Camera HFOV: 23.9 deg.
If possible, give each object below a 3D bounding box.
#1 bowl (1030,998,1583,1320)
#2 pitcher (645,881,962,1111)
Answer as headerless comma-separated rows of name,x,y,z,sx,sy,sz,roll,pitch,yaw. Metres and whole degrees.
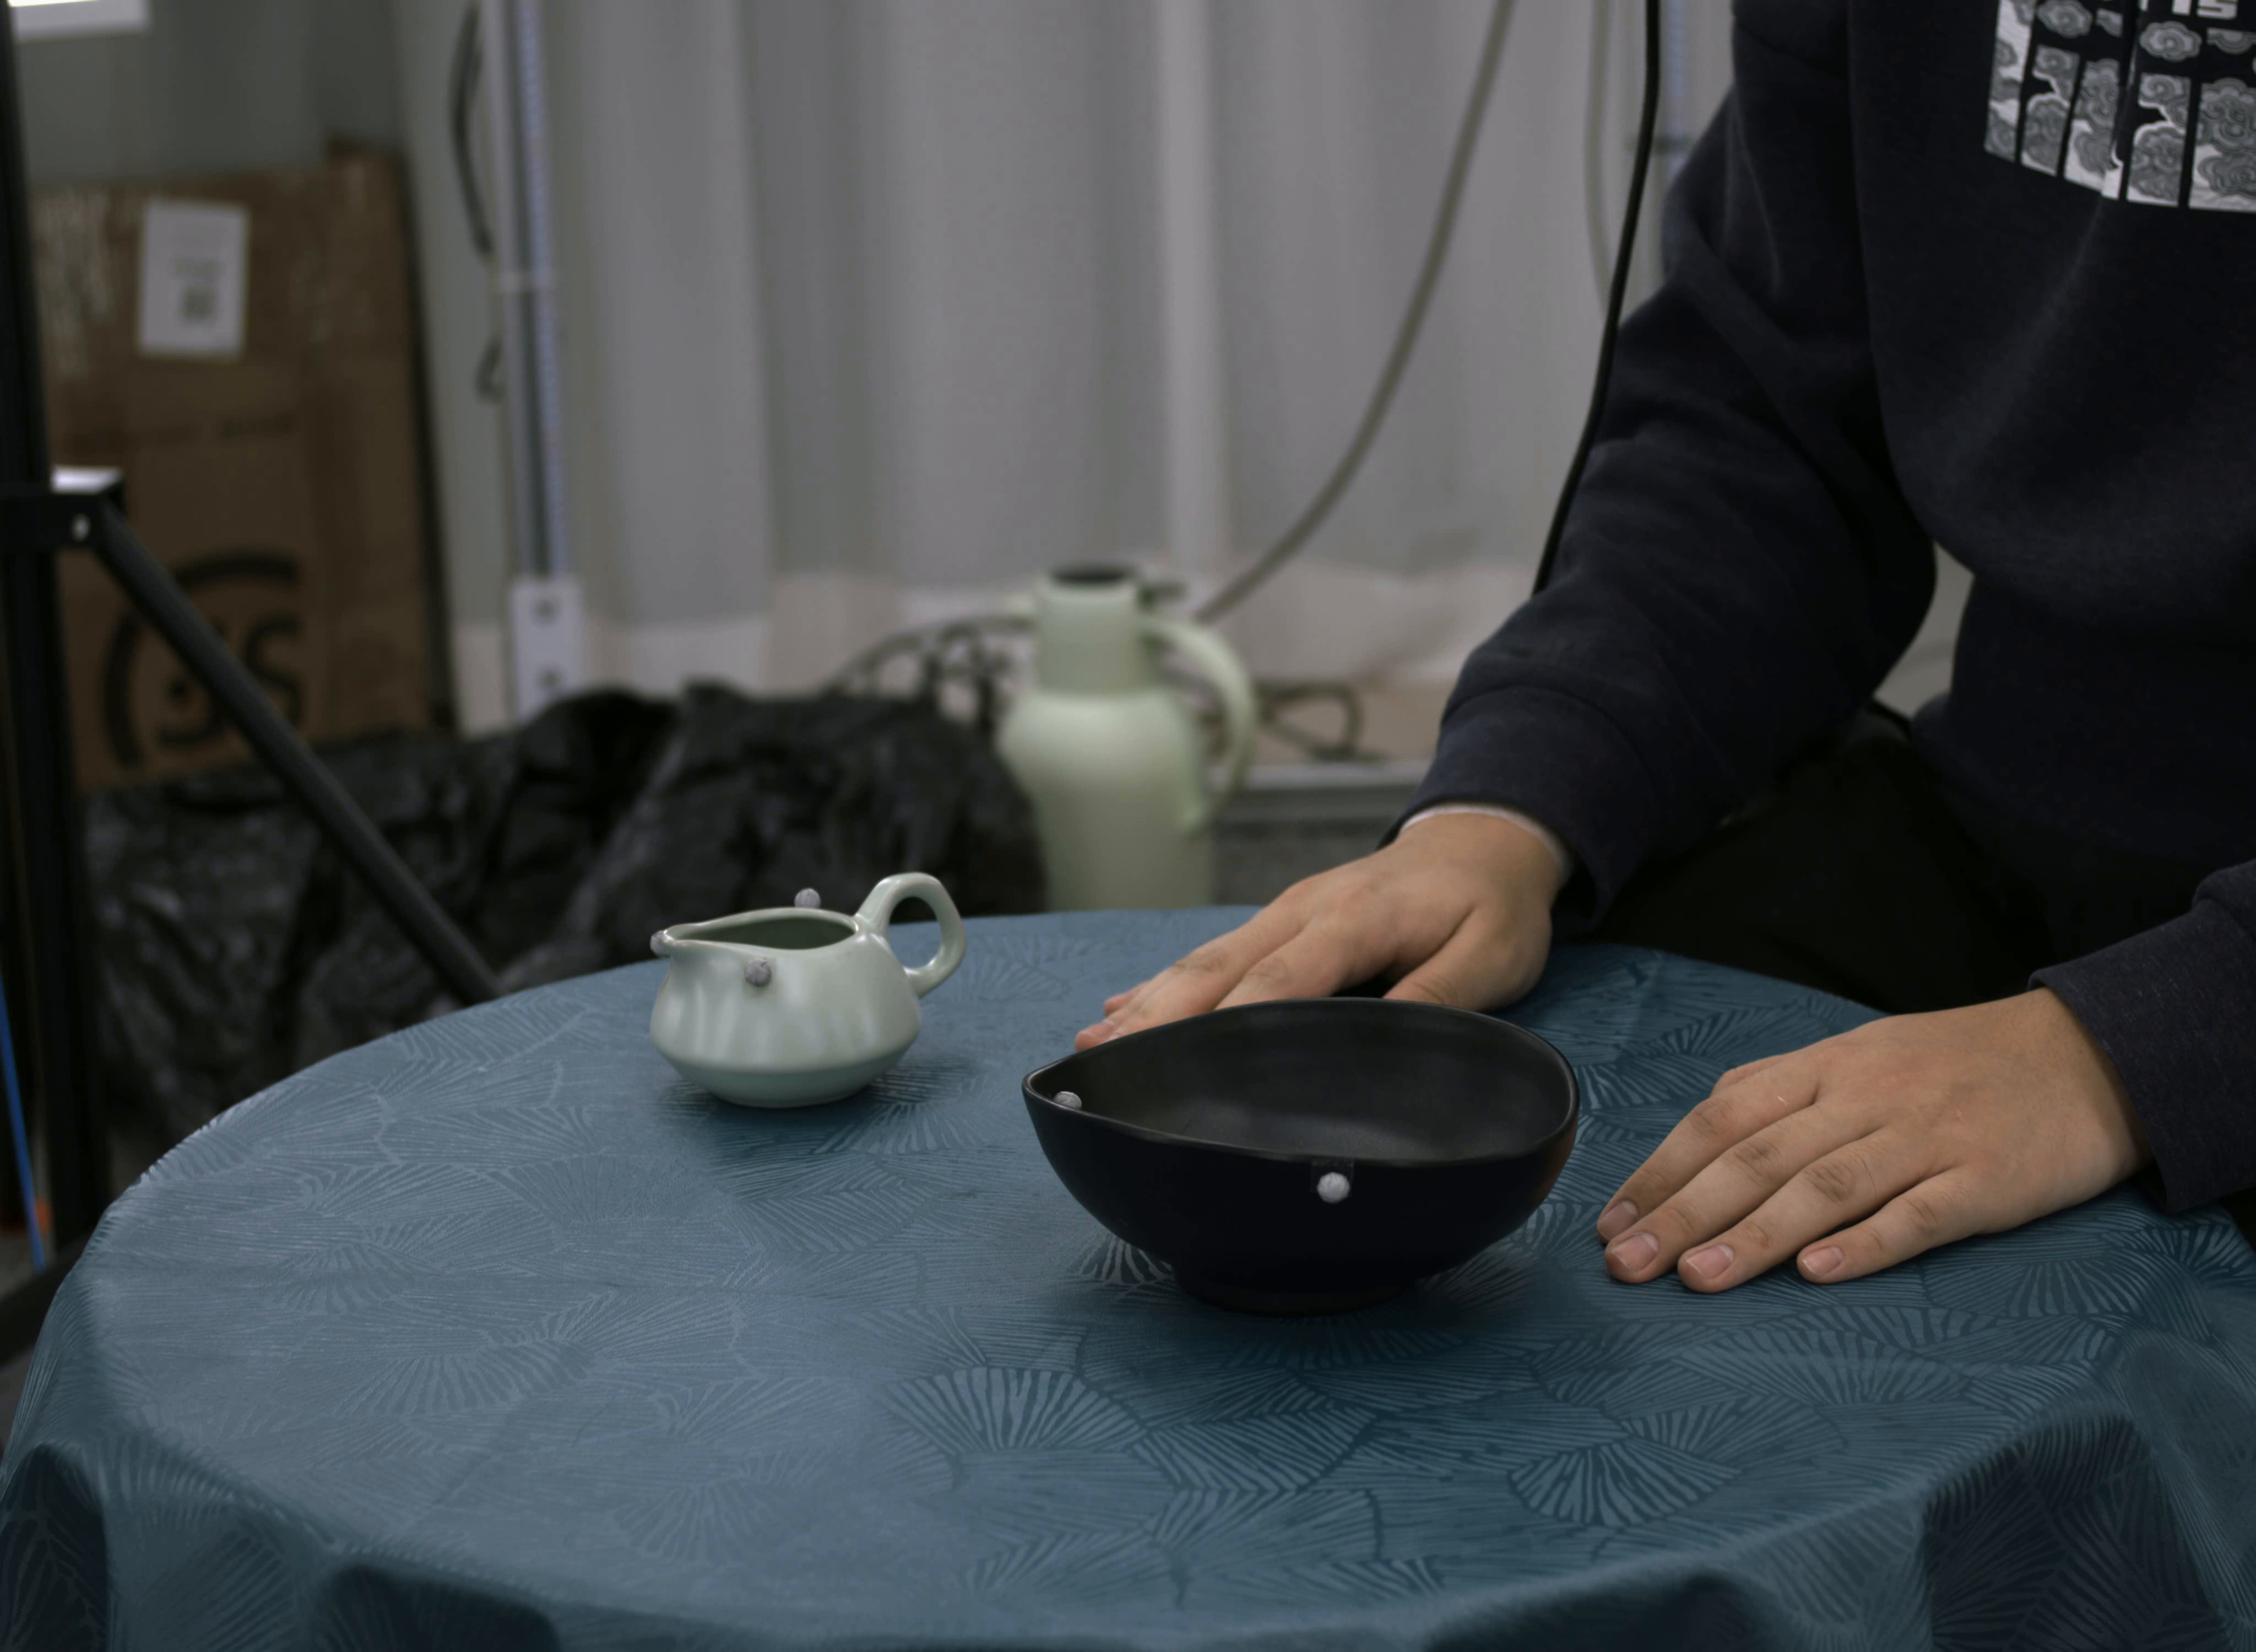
bowl,0.048,0.097,1.475,0.174,0.067,0.134,10,19,41
pitcher,-0.099,0.052,1.667,0.105,0.060,0.088,-10,18,-34
